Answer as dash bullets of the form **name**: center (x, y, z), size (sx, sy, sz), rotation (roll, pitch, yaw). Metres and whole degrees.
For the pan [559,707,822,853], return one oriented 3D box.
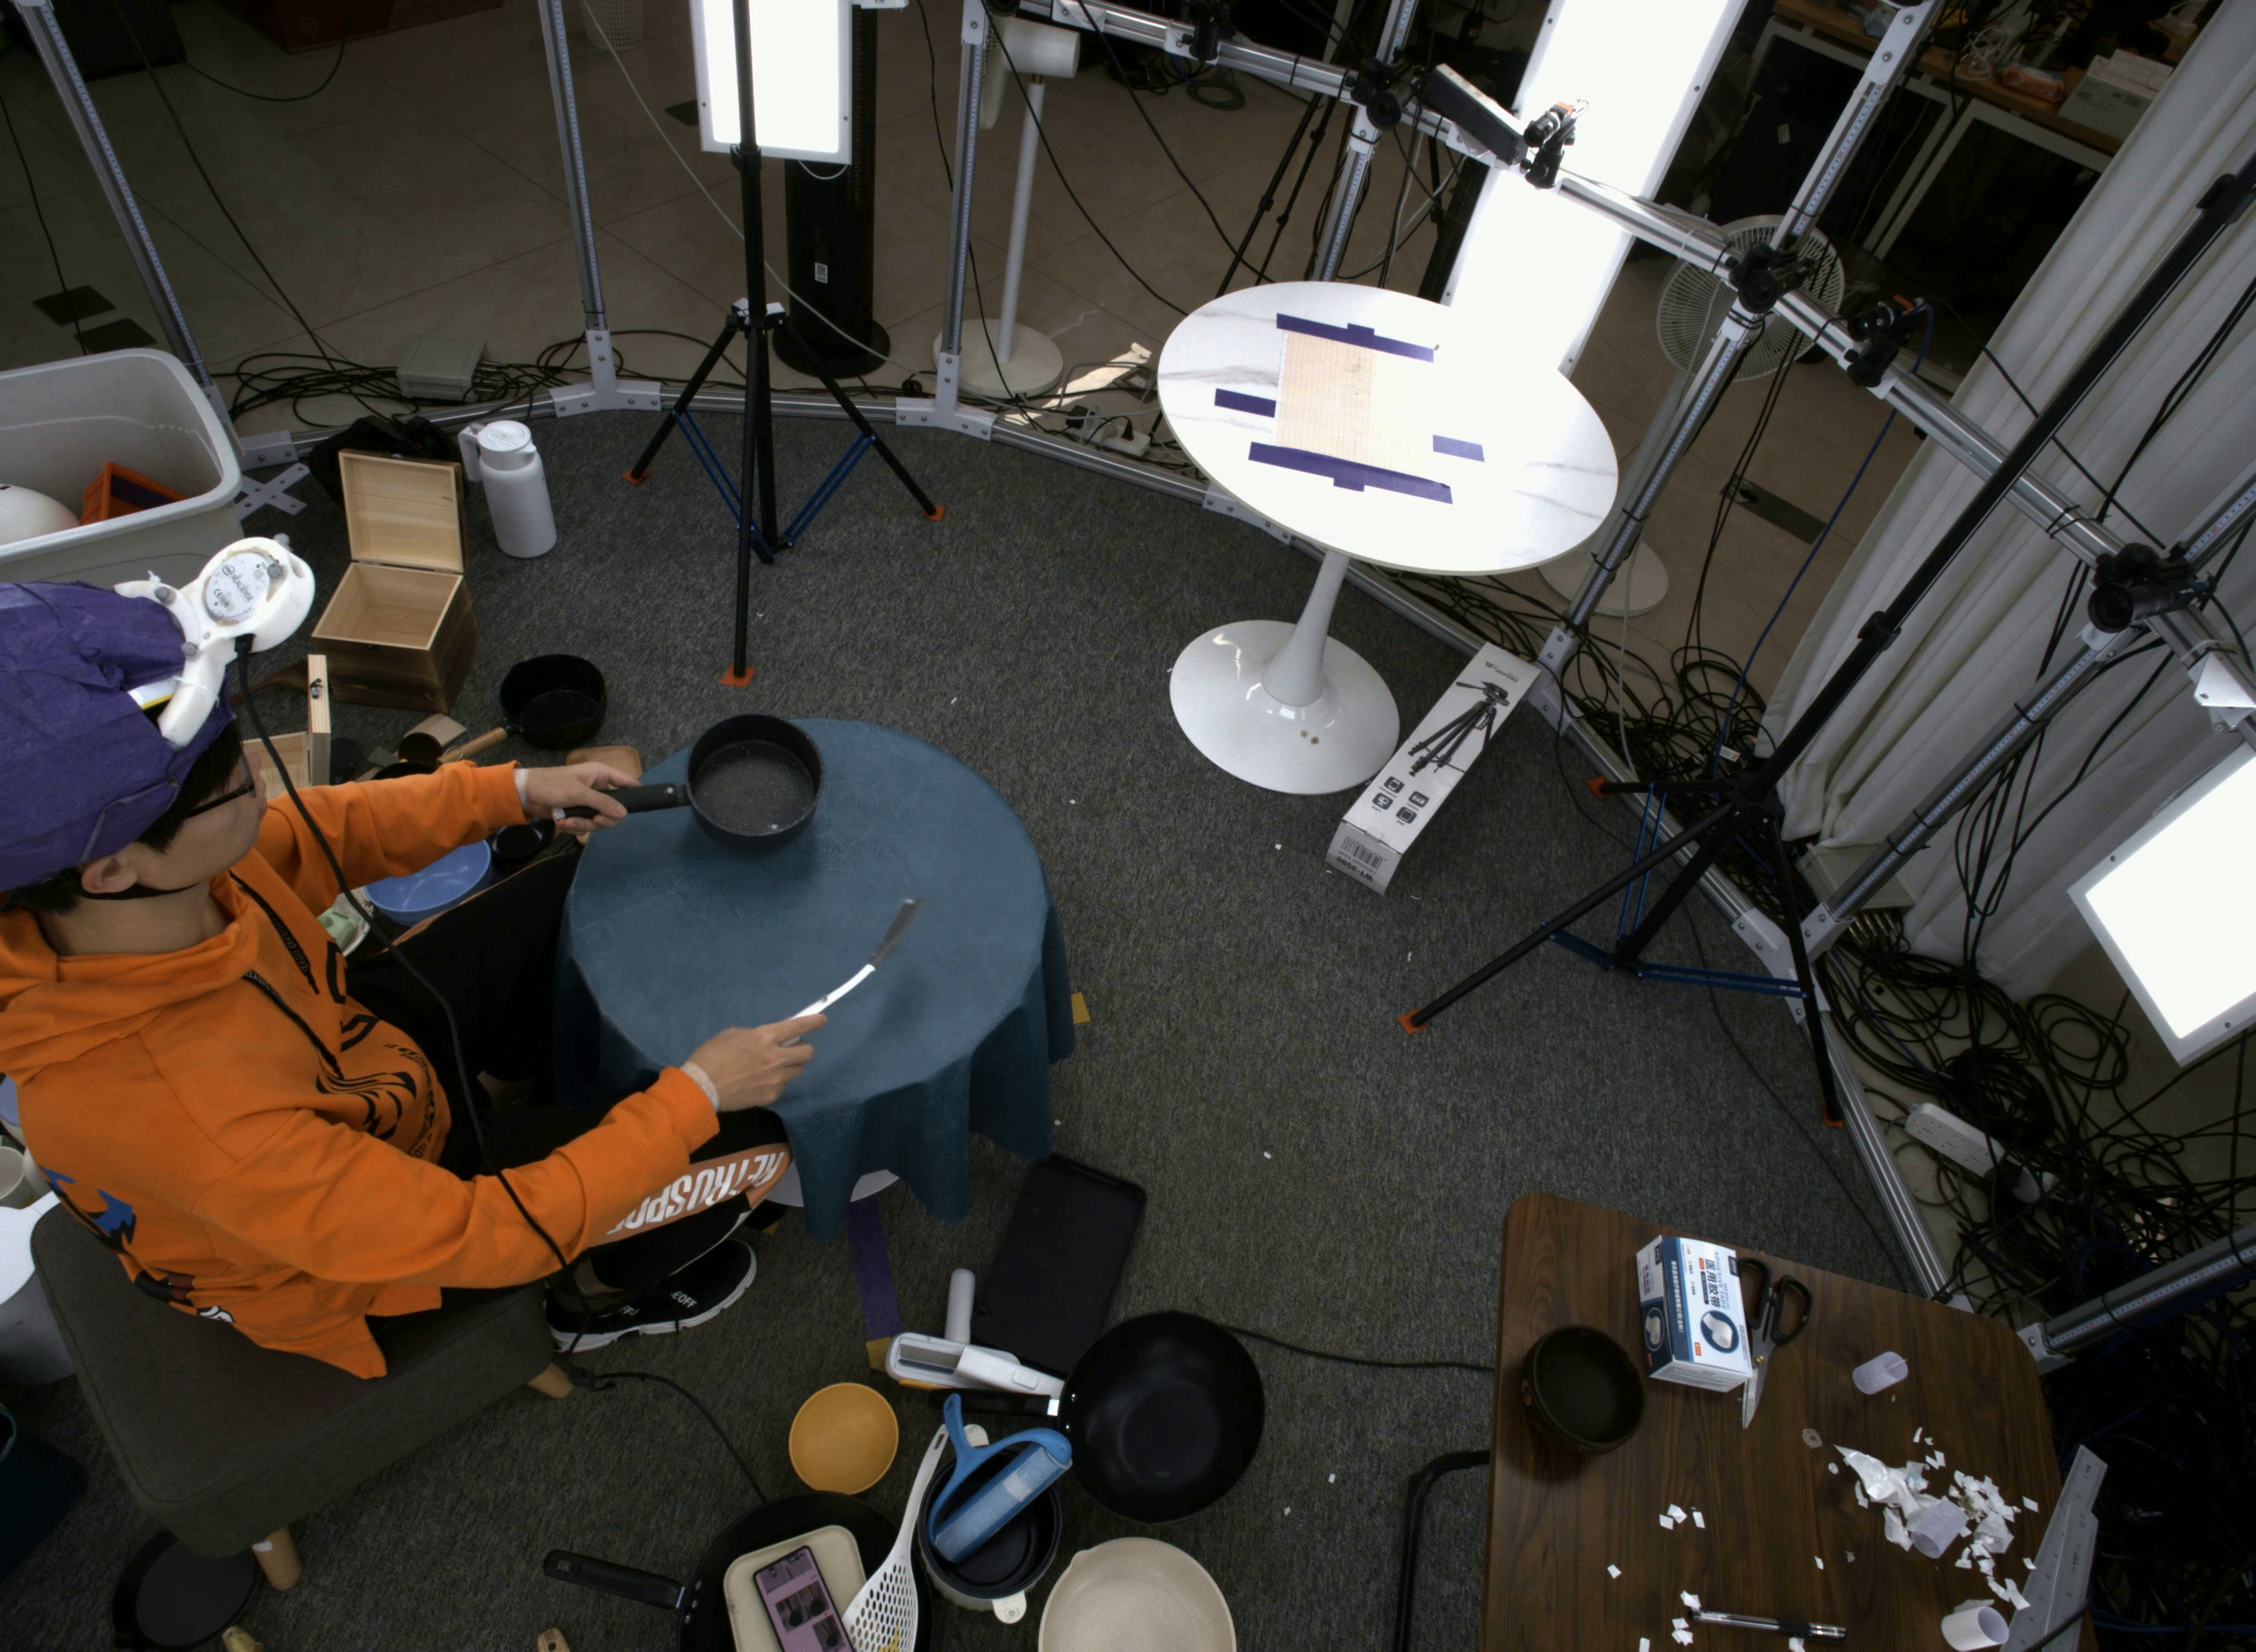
- **pan**: center (-0.548, -0.043, 1.601), size (0.331, 0.087, 0.170), rotation (-10, 72, -24)

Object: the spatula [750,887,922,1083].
- **spatula**: center (-0.325, 0.174, 1.482), size (0.032, 0.058, 0.287), rotation (45, 54, -8)
